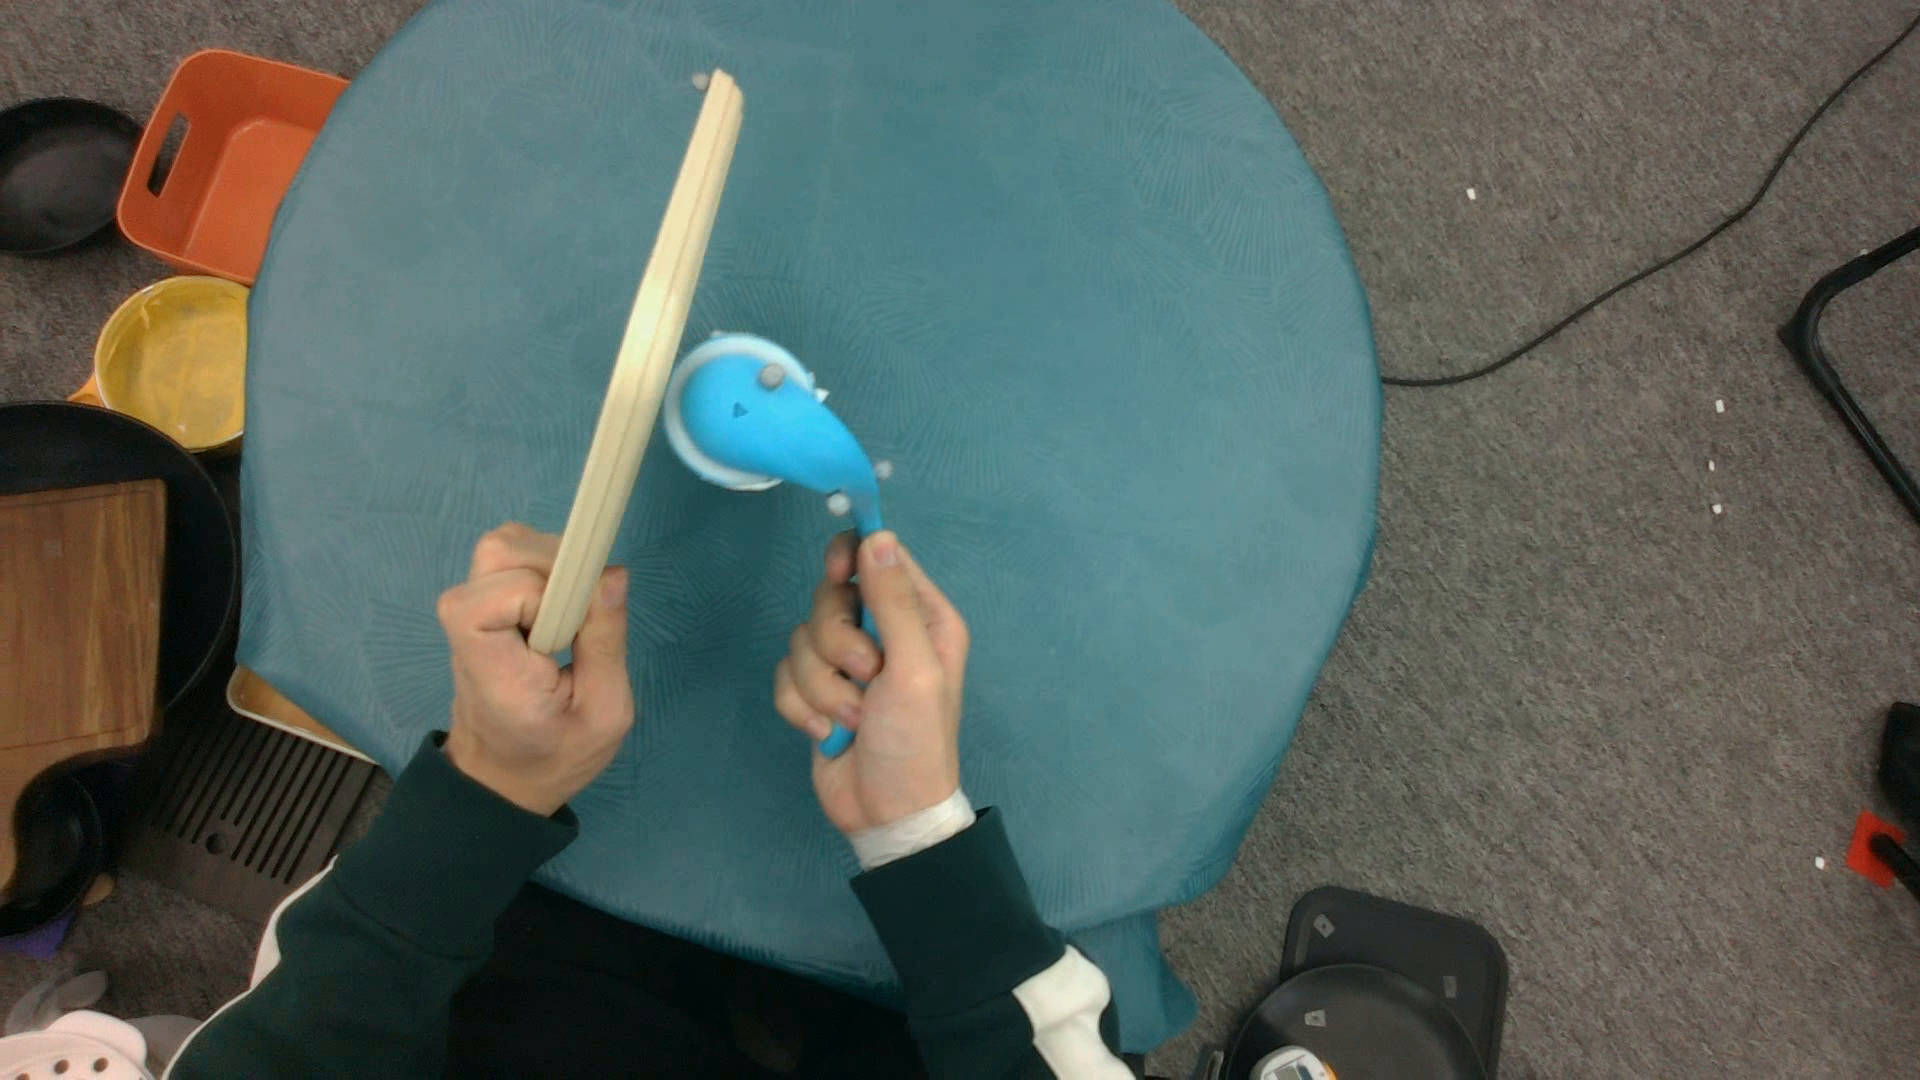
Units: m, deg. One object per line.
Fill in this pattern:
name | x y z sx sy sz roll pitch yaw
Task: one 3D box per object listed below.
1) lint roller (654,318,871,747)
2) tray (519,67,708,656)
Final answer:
lint roller | -0.069 -0.007 0.575 0.068 0.229 0.180 -23 102 -6
tray | -0.137 -0.079 0.561 0.017 0.170 0.240 16 36 -17
